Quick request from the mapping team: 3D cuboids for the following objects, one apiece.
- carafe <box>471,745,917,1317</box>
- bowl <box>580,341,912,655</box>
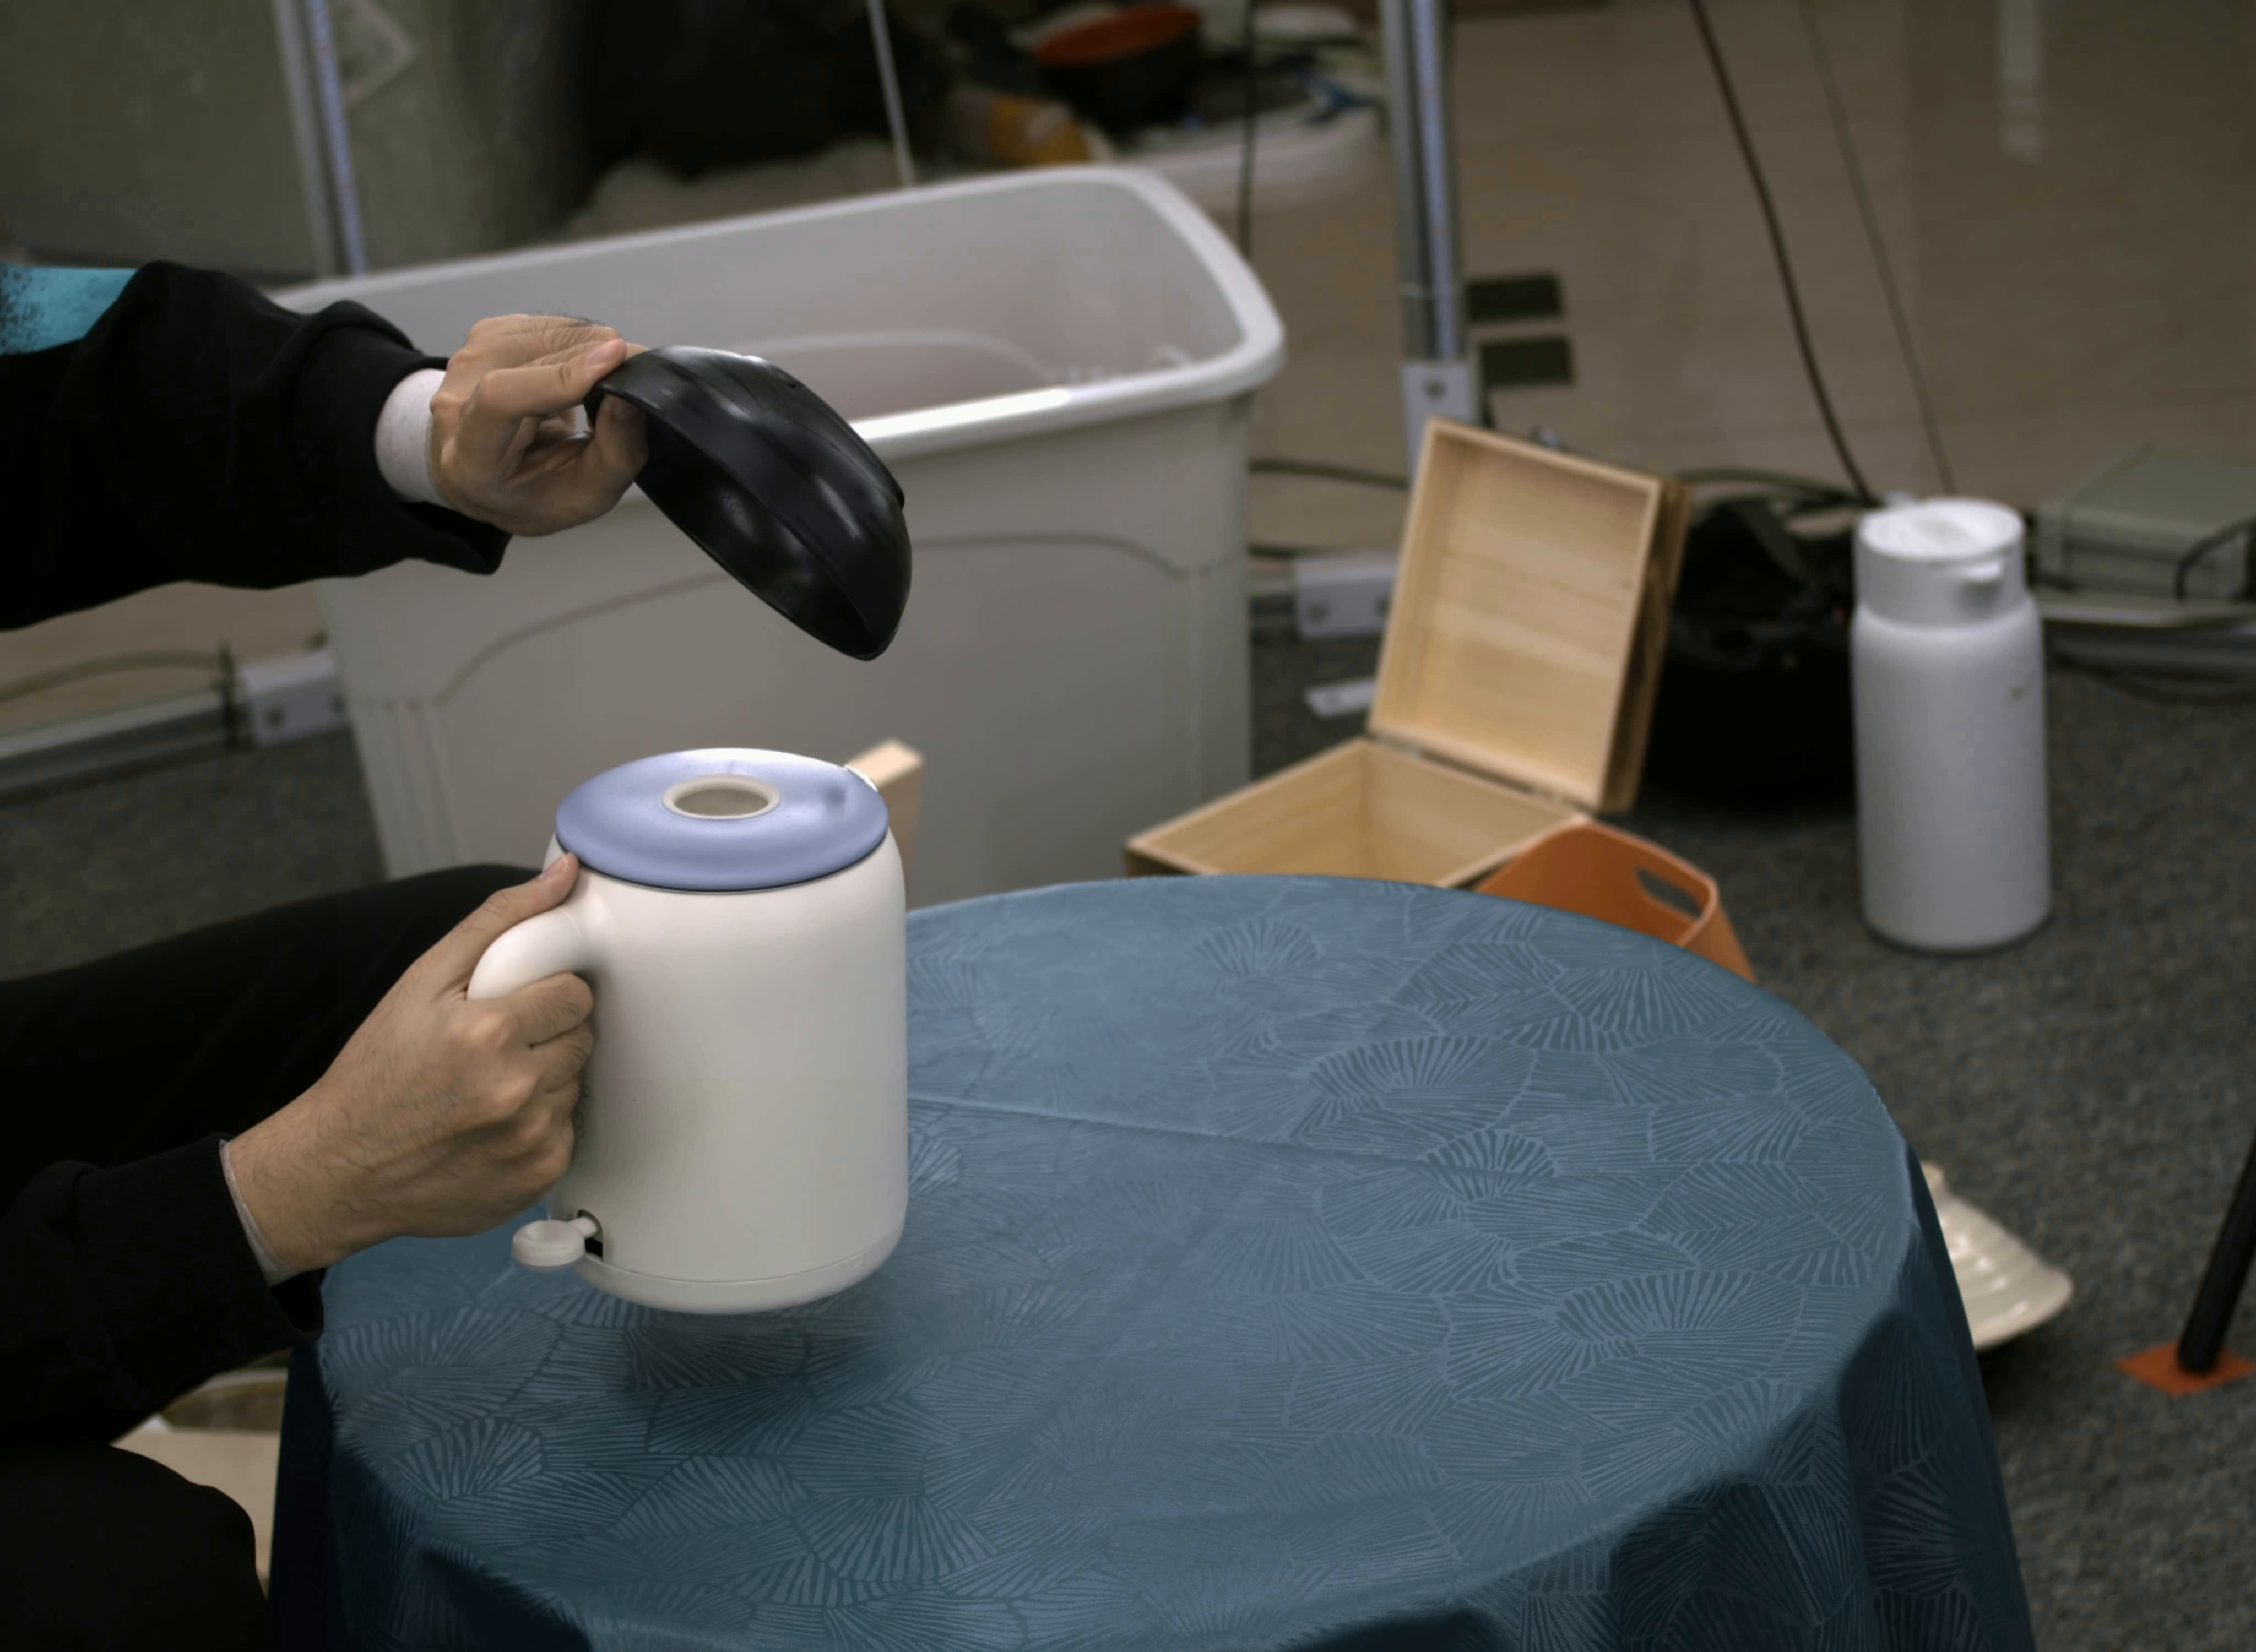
[{"bbox_3d":[-0.160,0.080,2.017,0.131,0.185,0.189,21,33,40],"label":"carafe"},{"bbox_3d":[-0.123,-0.124,1.967,0.049,0.142,0.138,-49,38,-10],"label":"bowl"}]
